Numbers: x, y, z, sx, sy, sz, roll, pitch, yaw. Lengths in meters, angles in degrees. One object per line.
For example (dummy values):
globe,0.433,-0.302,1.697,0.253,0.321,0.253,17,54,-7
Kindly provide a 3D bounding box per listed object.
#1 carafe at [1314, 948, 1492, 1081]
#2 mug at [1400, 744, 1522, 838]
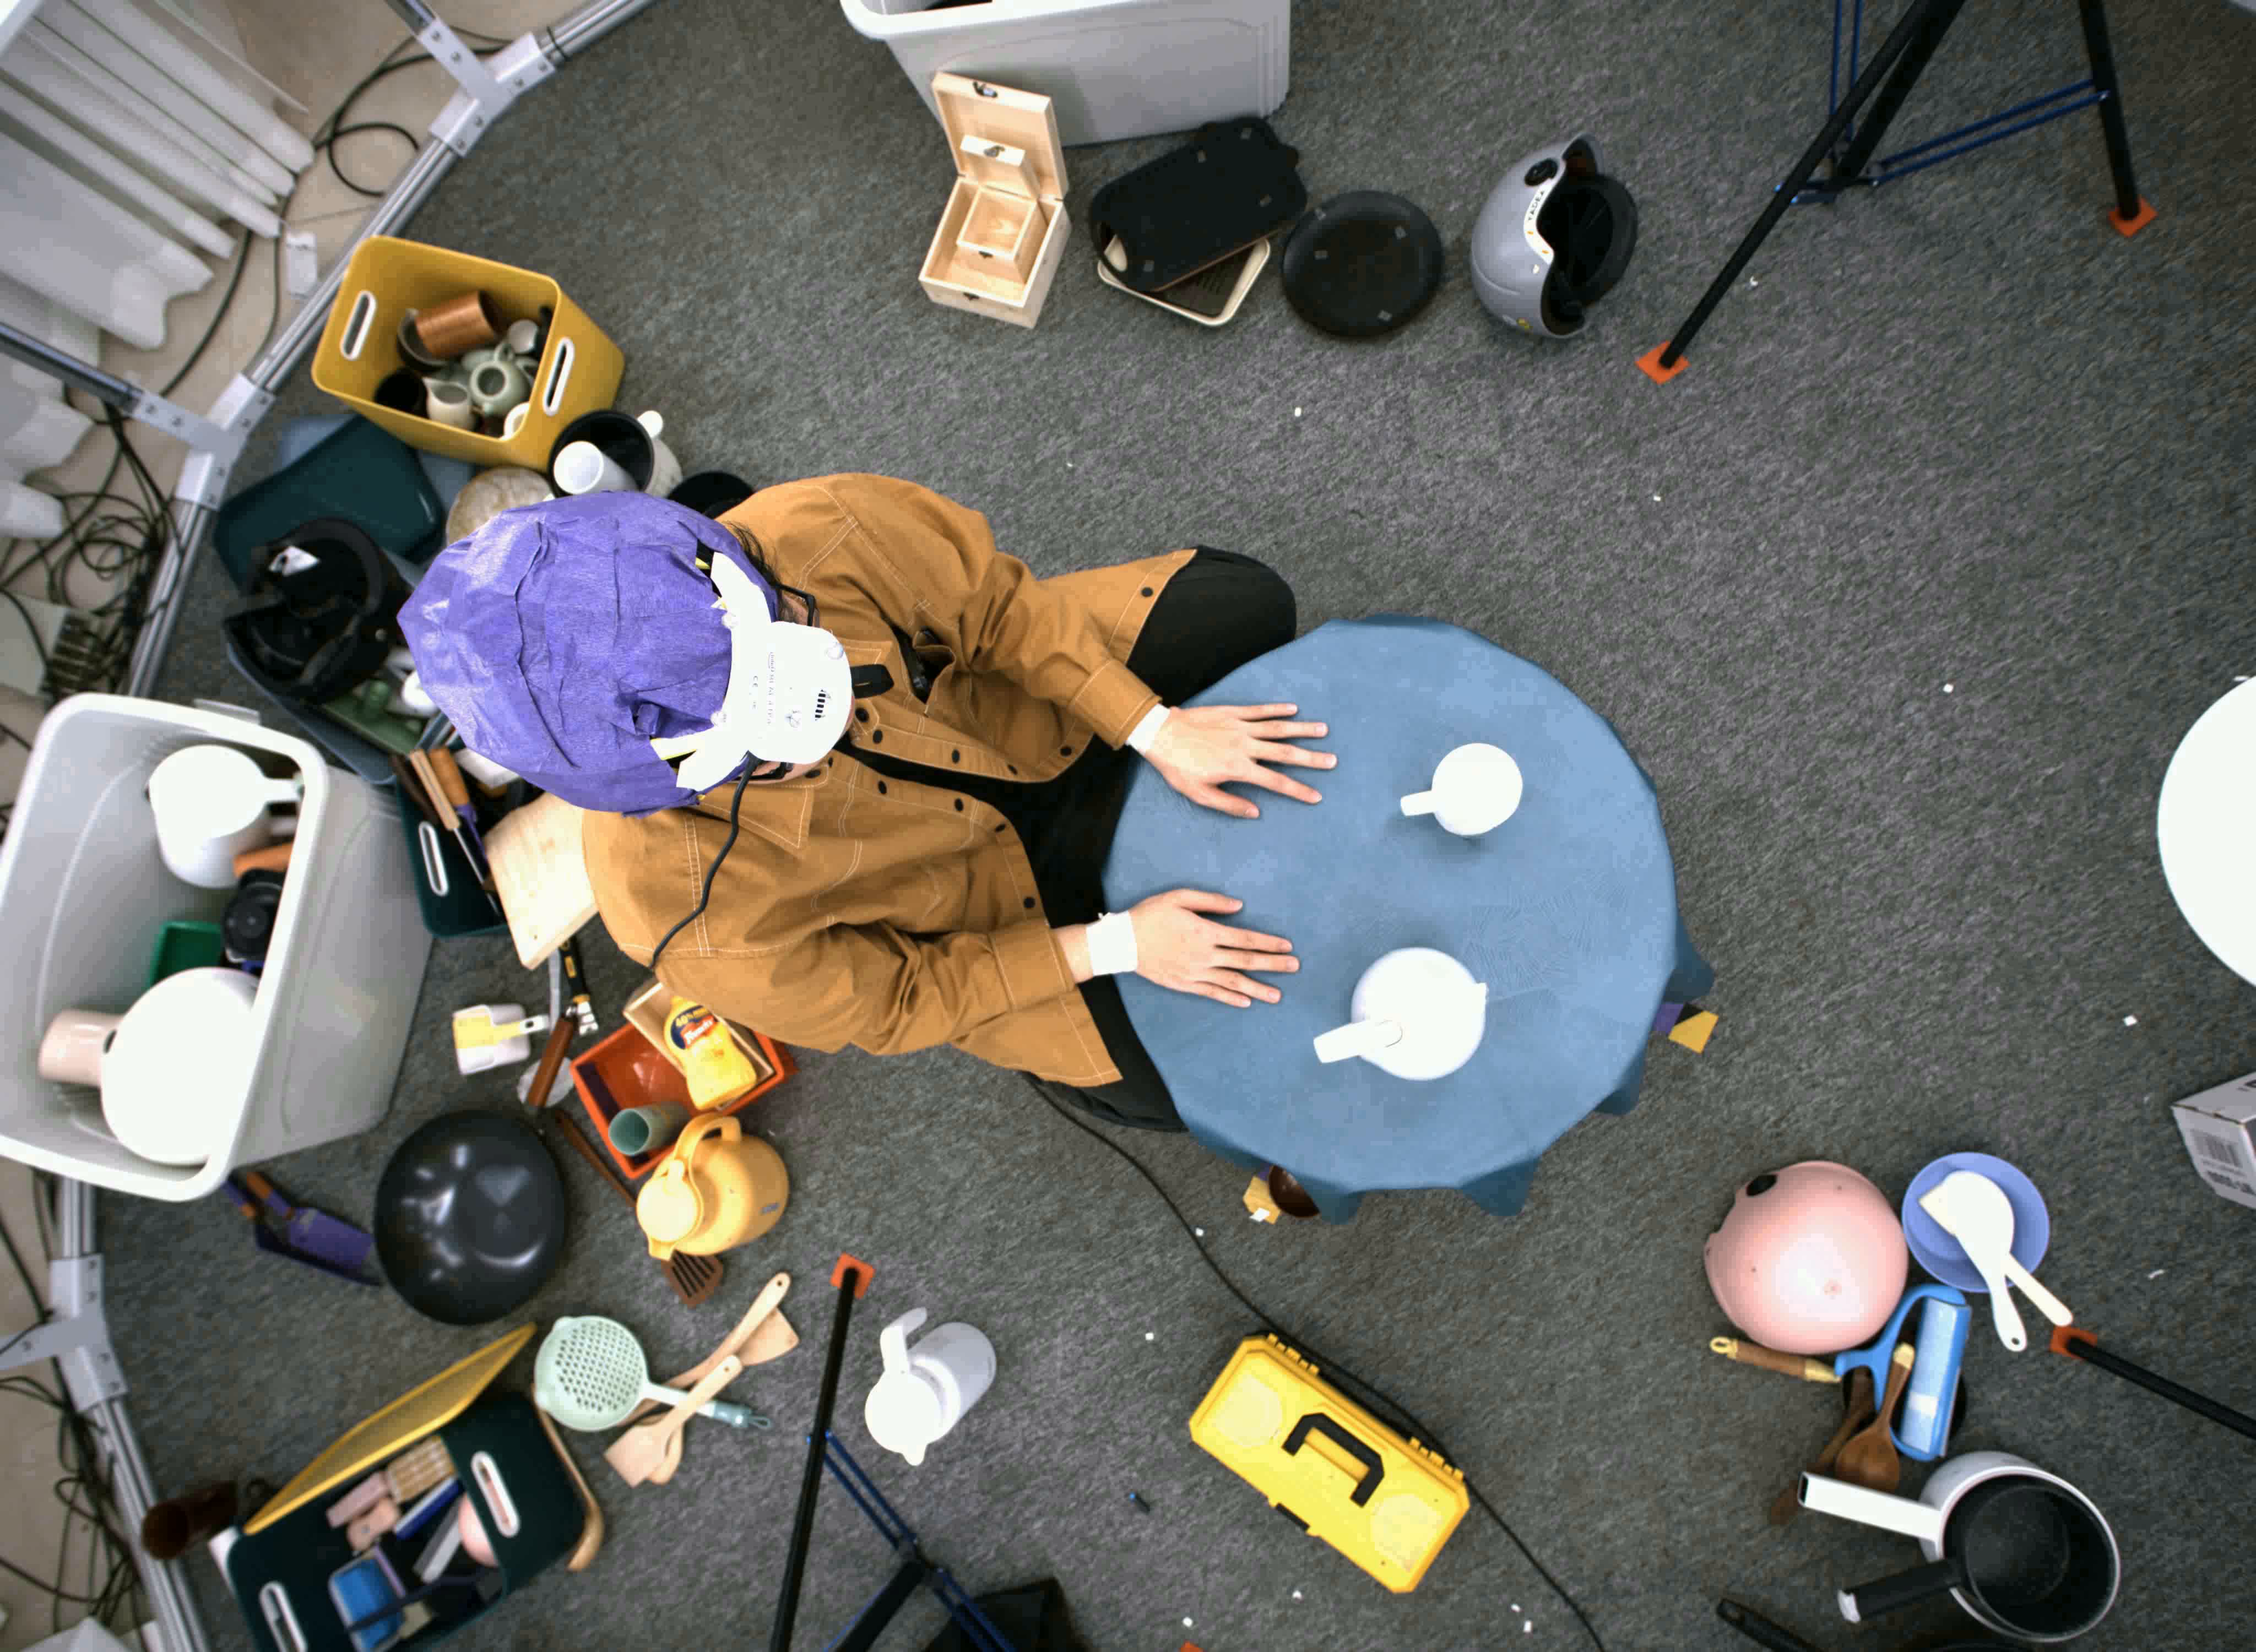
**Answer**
carafe,0.262,0.189,1.331,0.169,0.248,0.131,-22,82,8
mug,0.337,-0.031,1.401,0.119,0.102,0.084,-14,82,9
